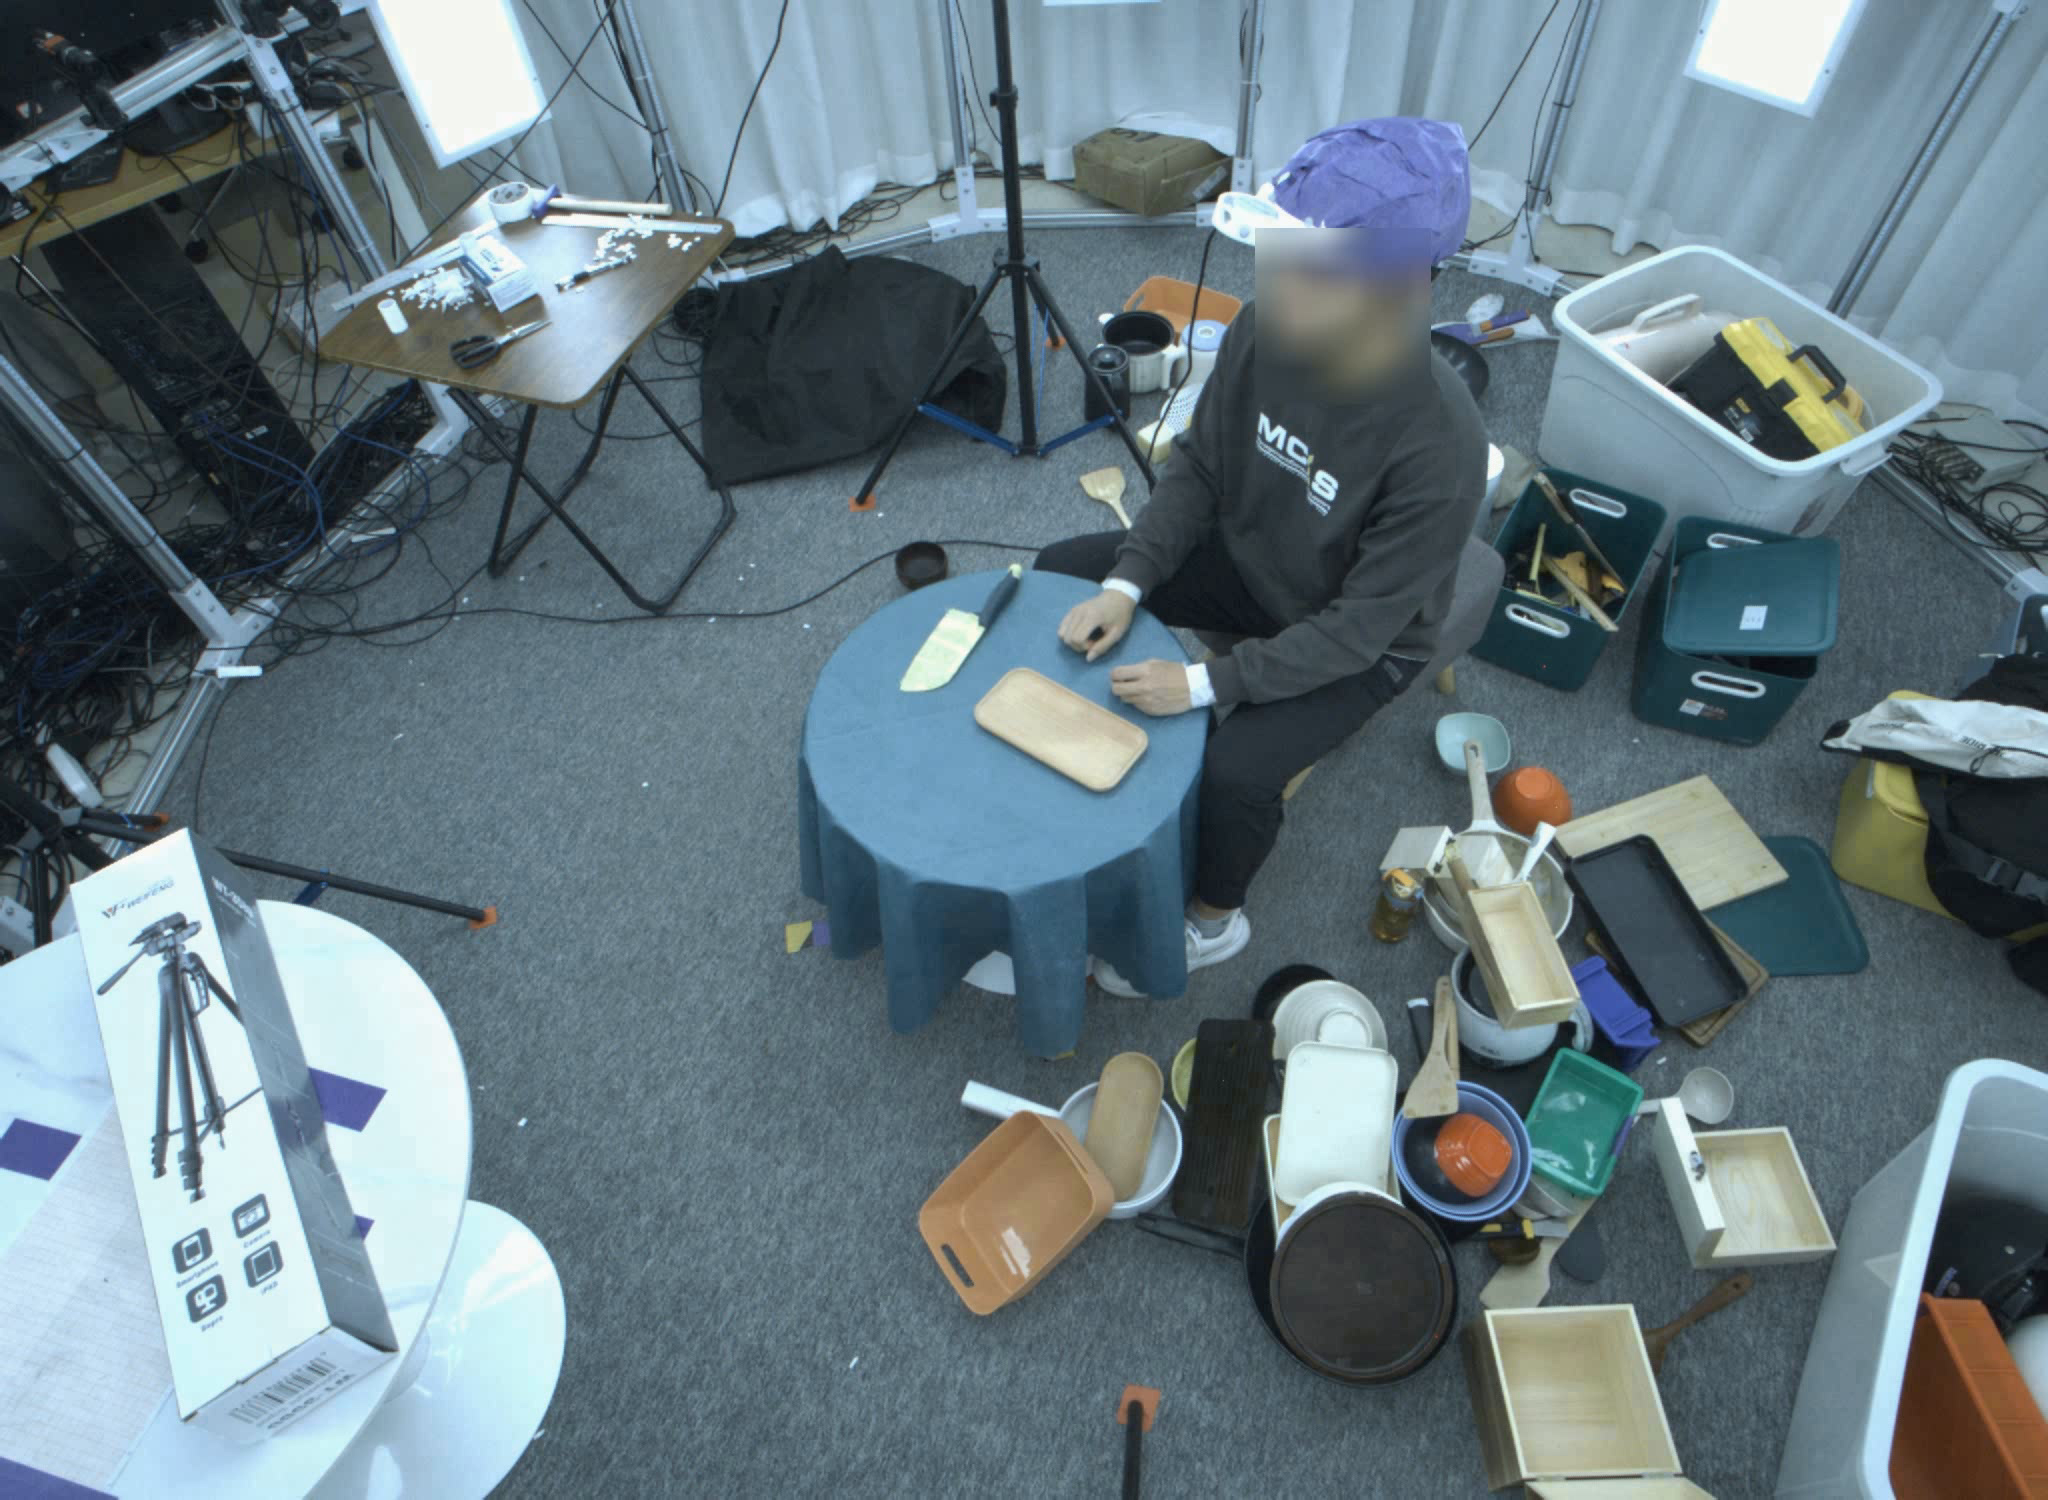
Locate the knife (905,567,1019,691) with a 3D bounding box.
[{"bbox_3d":[-0.096,-0.194,1.927,0.080,0.027,0.290,26,60,17],"label":"knife"}]

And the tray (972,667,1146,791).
[{"bbox_3d":[0.050,-0.032,1.807,0.247,0.023,0.131,30,58,21],"label":"tray"}]
